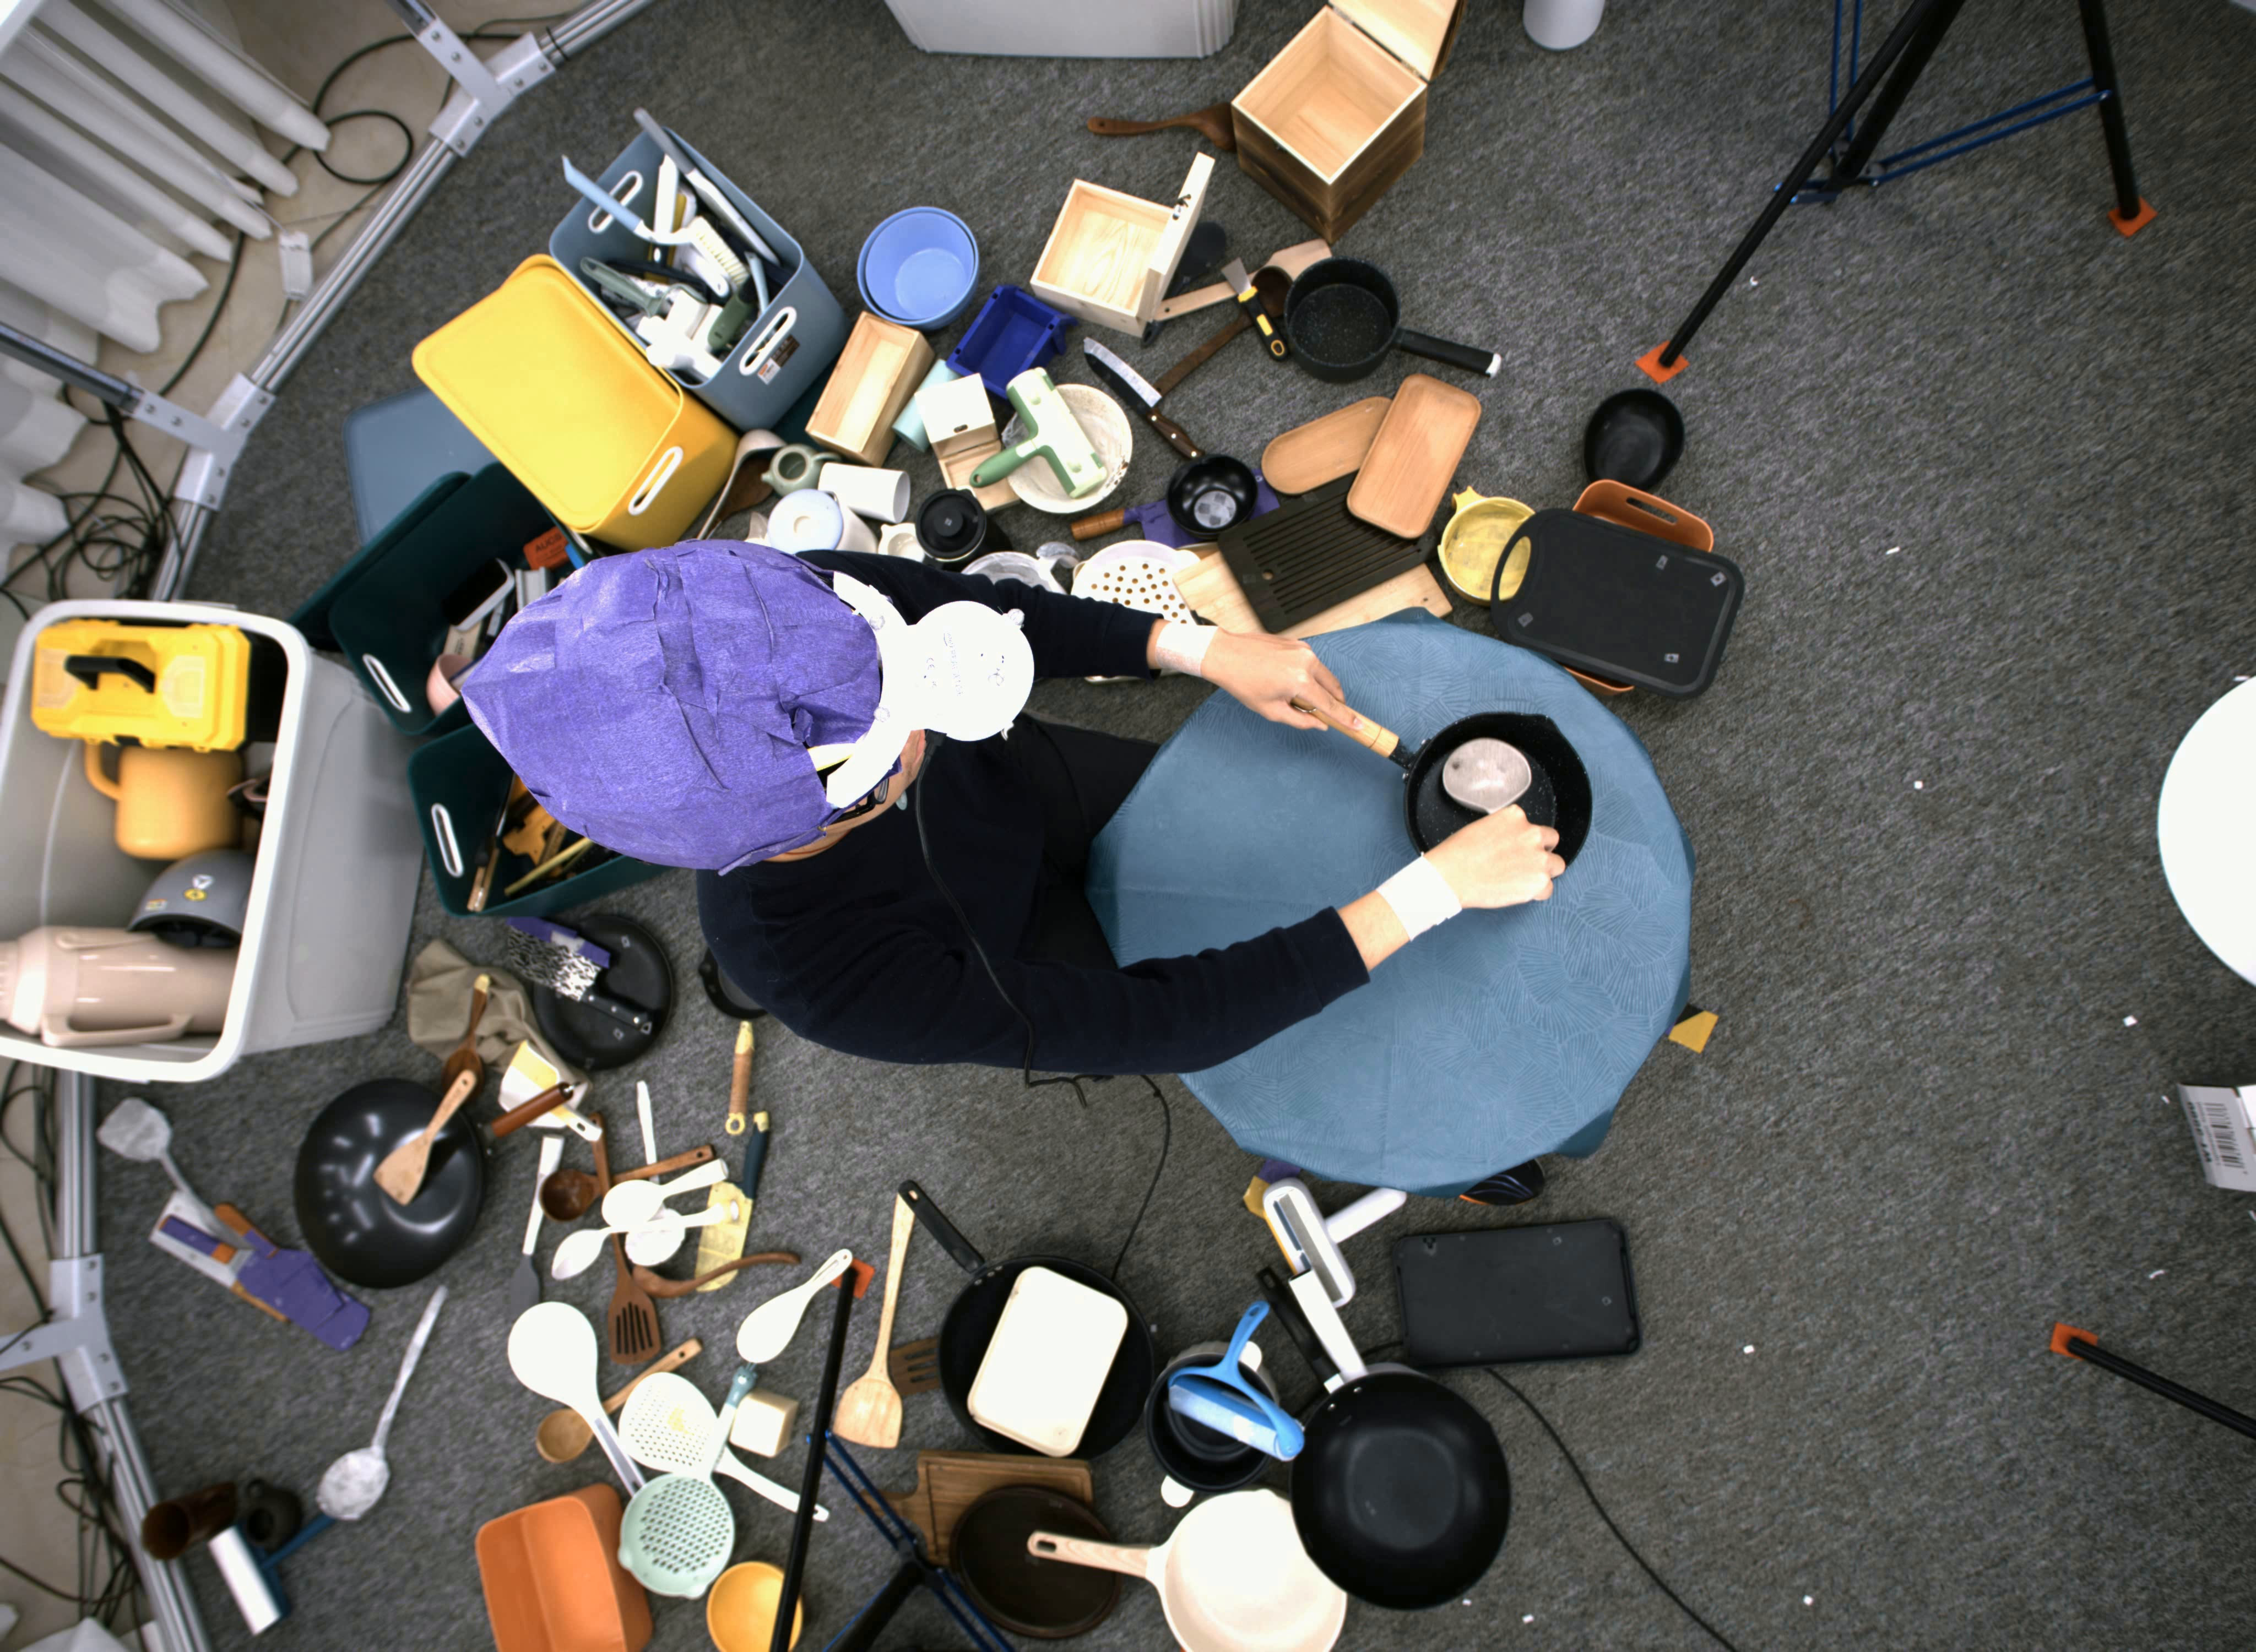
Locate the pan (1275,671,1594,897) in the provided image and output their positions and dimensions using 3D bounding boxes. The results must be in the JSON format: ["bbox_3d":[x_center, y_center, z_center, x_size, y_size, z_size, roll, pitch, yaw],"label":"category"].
[{"bbox_3d":[0.300,-0.060,1.394,0.343,0.108,0.208,28,93,4],"label":"pan"}]

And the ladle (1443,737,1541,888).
[{"bbox_3d":[0.358,-0.022,1.303,0.089,0.270,0.070,-1,108,6],"label":"ladle"}]
